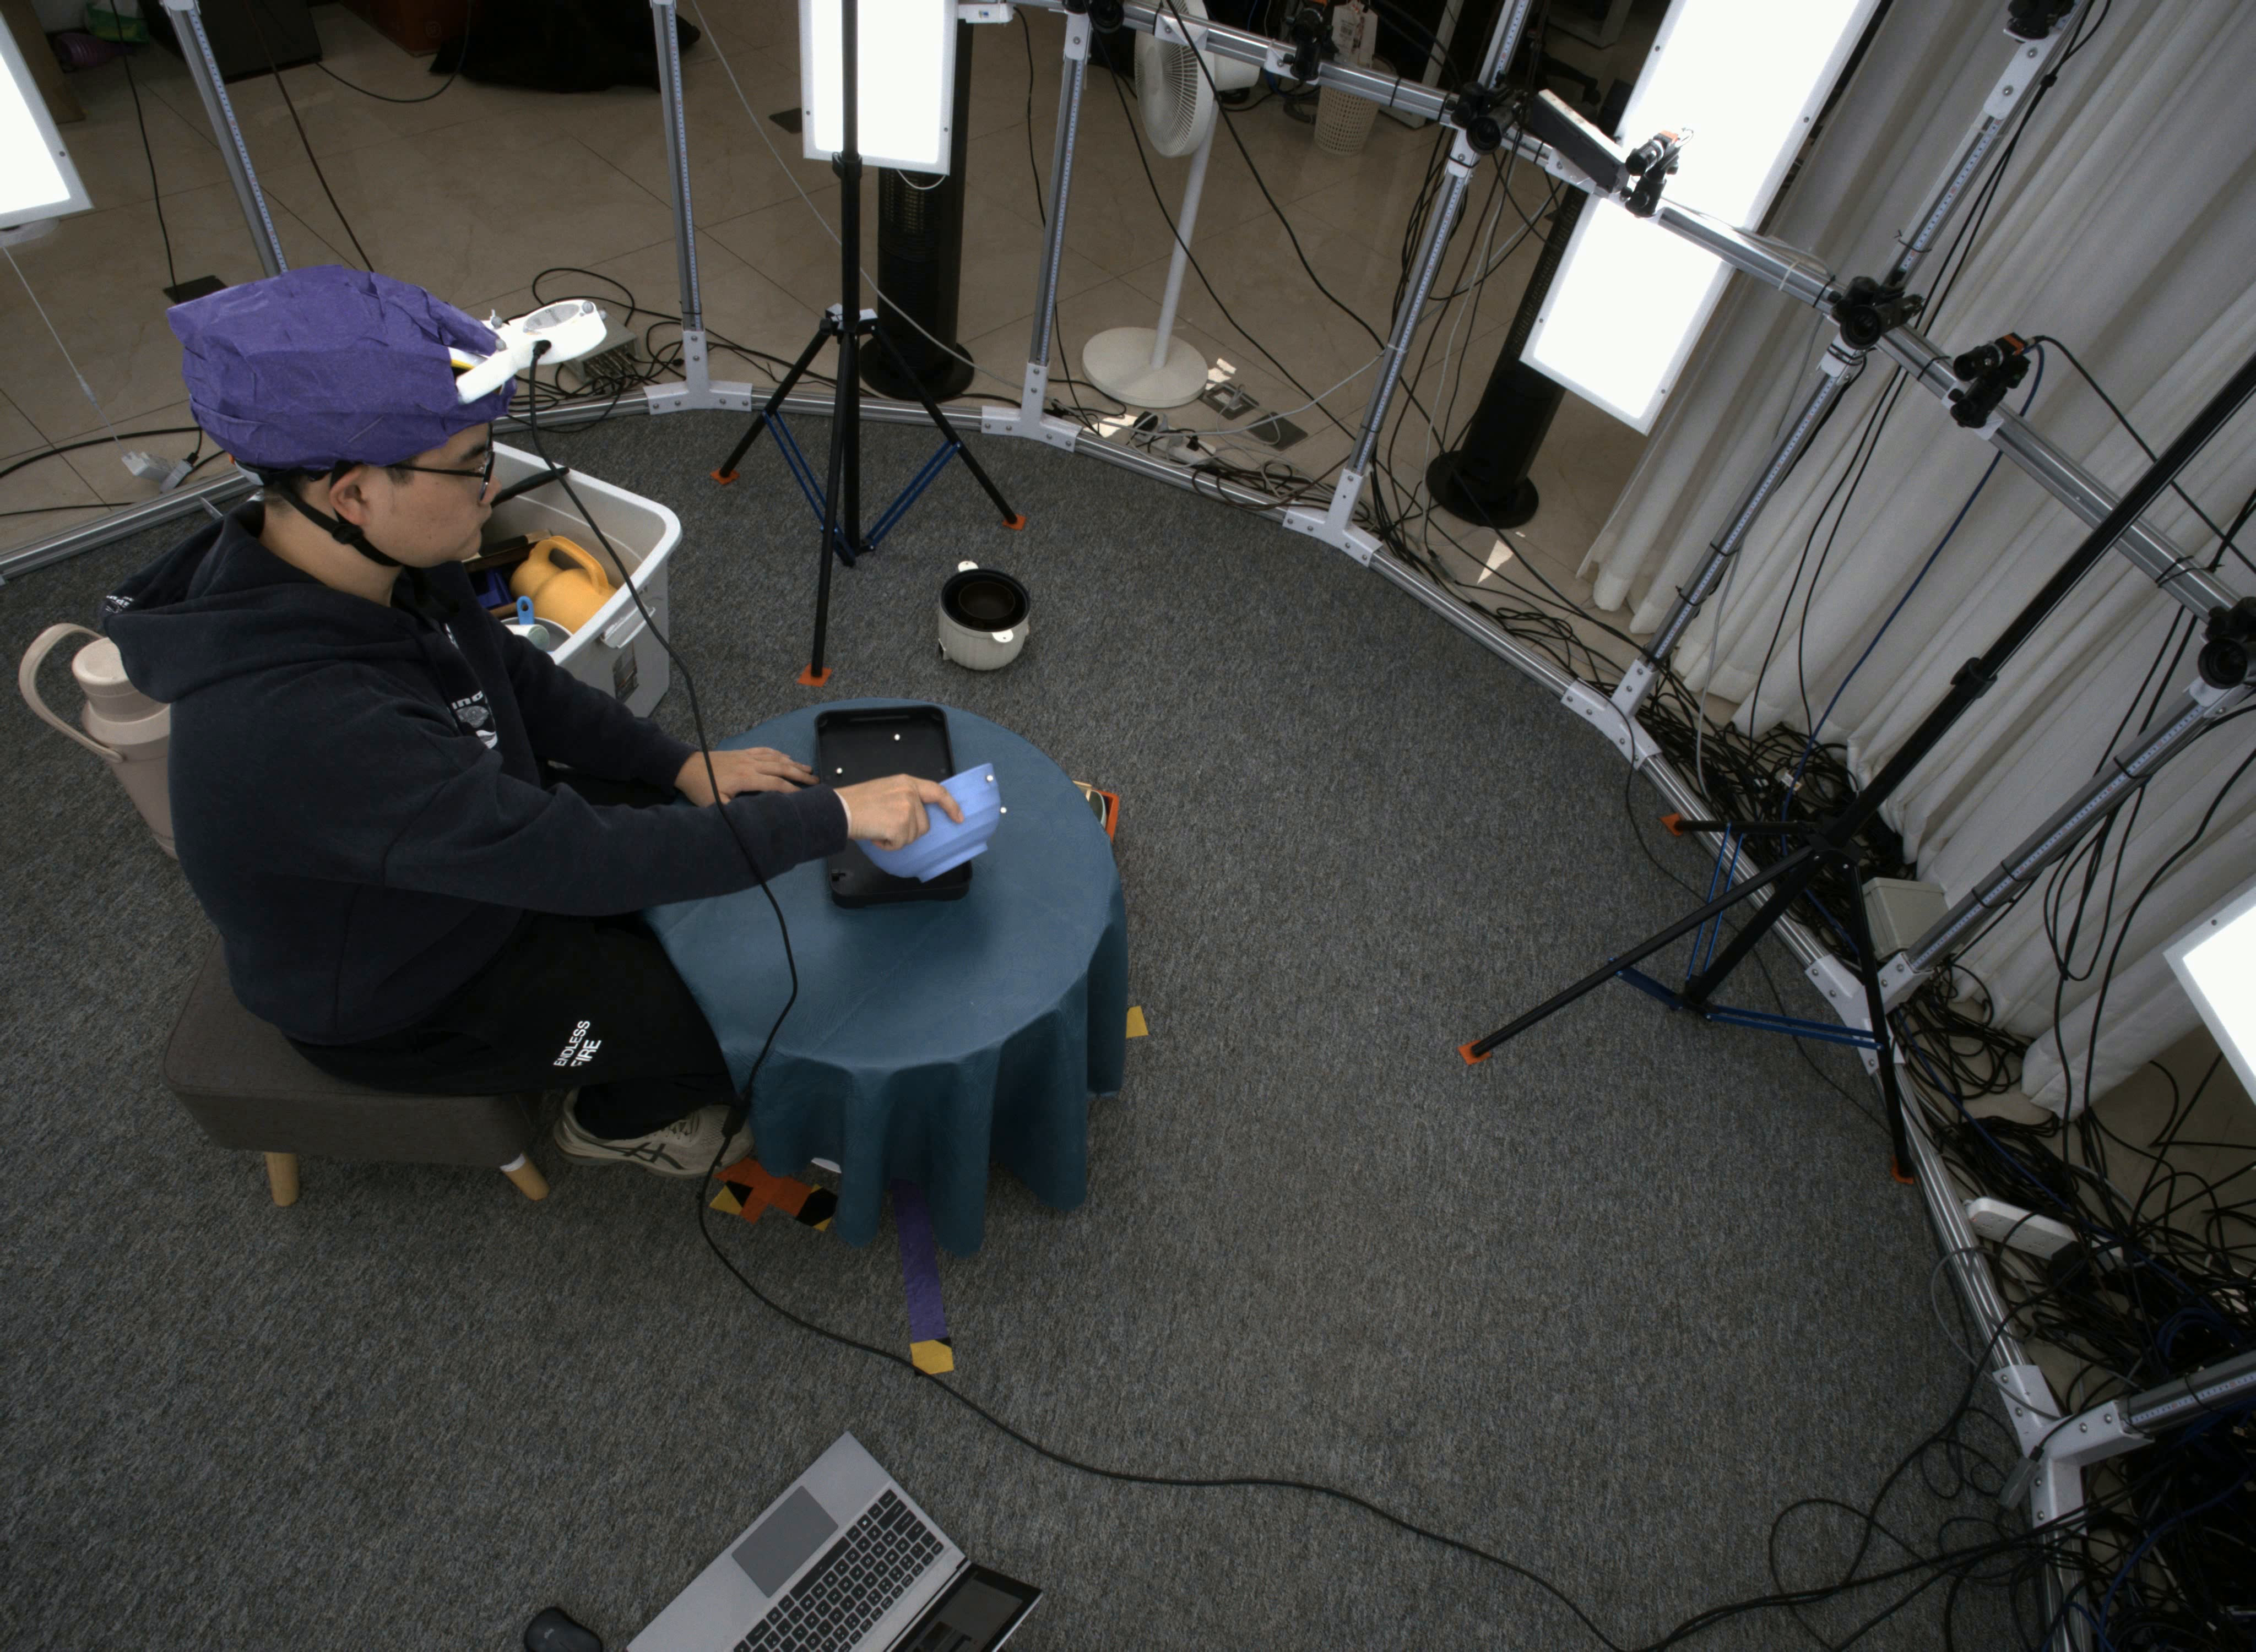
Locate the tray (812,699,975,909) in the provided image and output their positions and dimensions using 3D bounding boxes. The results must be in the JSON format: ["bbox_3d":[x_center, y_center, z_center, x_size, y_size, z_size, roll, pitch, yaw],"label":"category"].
[{"bbox_3d":[-0.320,-0.037,1.753,0.185,0.038,0.311,-5,57,-17],"label":"tray"}]

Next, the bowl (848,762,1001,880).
[{"bbox_3d":[-0.236,0.004,1.605,0.197,0.193,0.096,-25,92,-28],"label":"bowl"}]
